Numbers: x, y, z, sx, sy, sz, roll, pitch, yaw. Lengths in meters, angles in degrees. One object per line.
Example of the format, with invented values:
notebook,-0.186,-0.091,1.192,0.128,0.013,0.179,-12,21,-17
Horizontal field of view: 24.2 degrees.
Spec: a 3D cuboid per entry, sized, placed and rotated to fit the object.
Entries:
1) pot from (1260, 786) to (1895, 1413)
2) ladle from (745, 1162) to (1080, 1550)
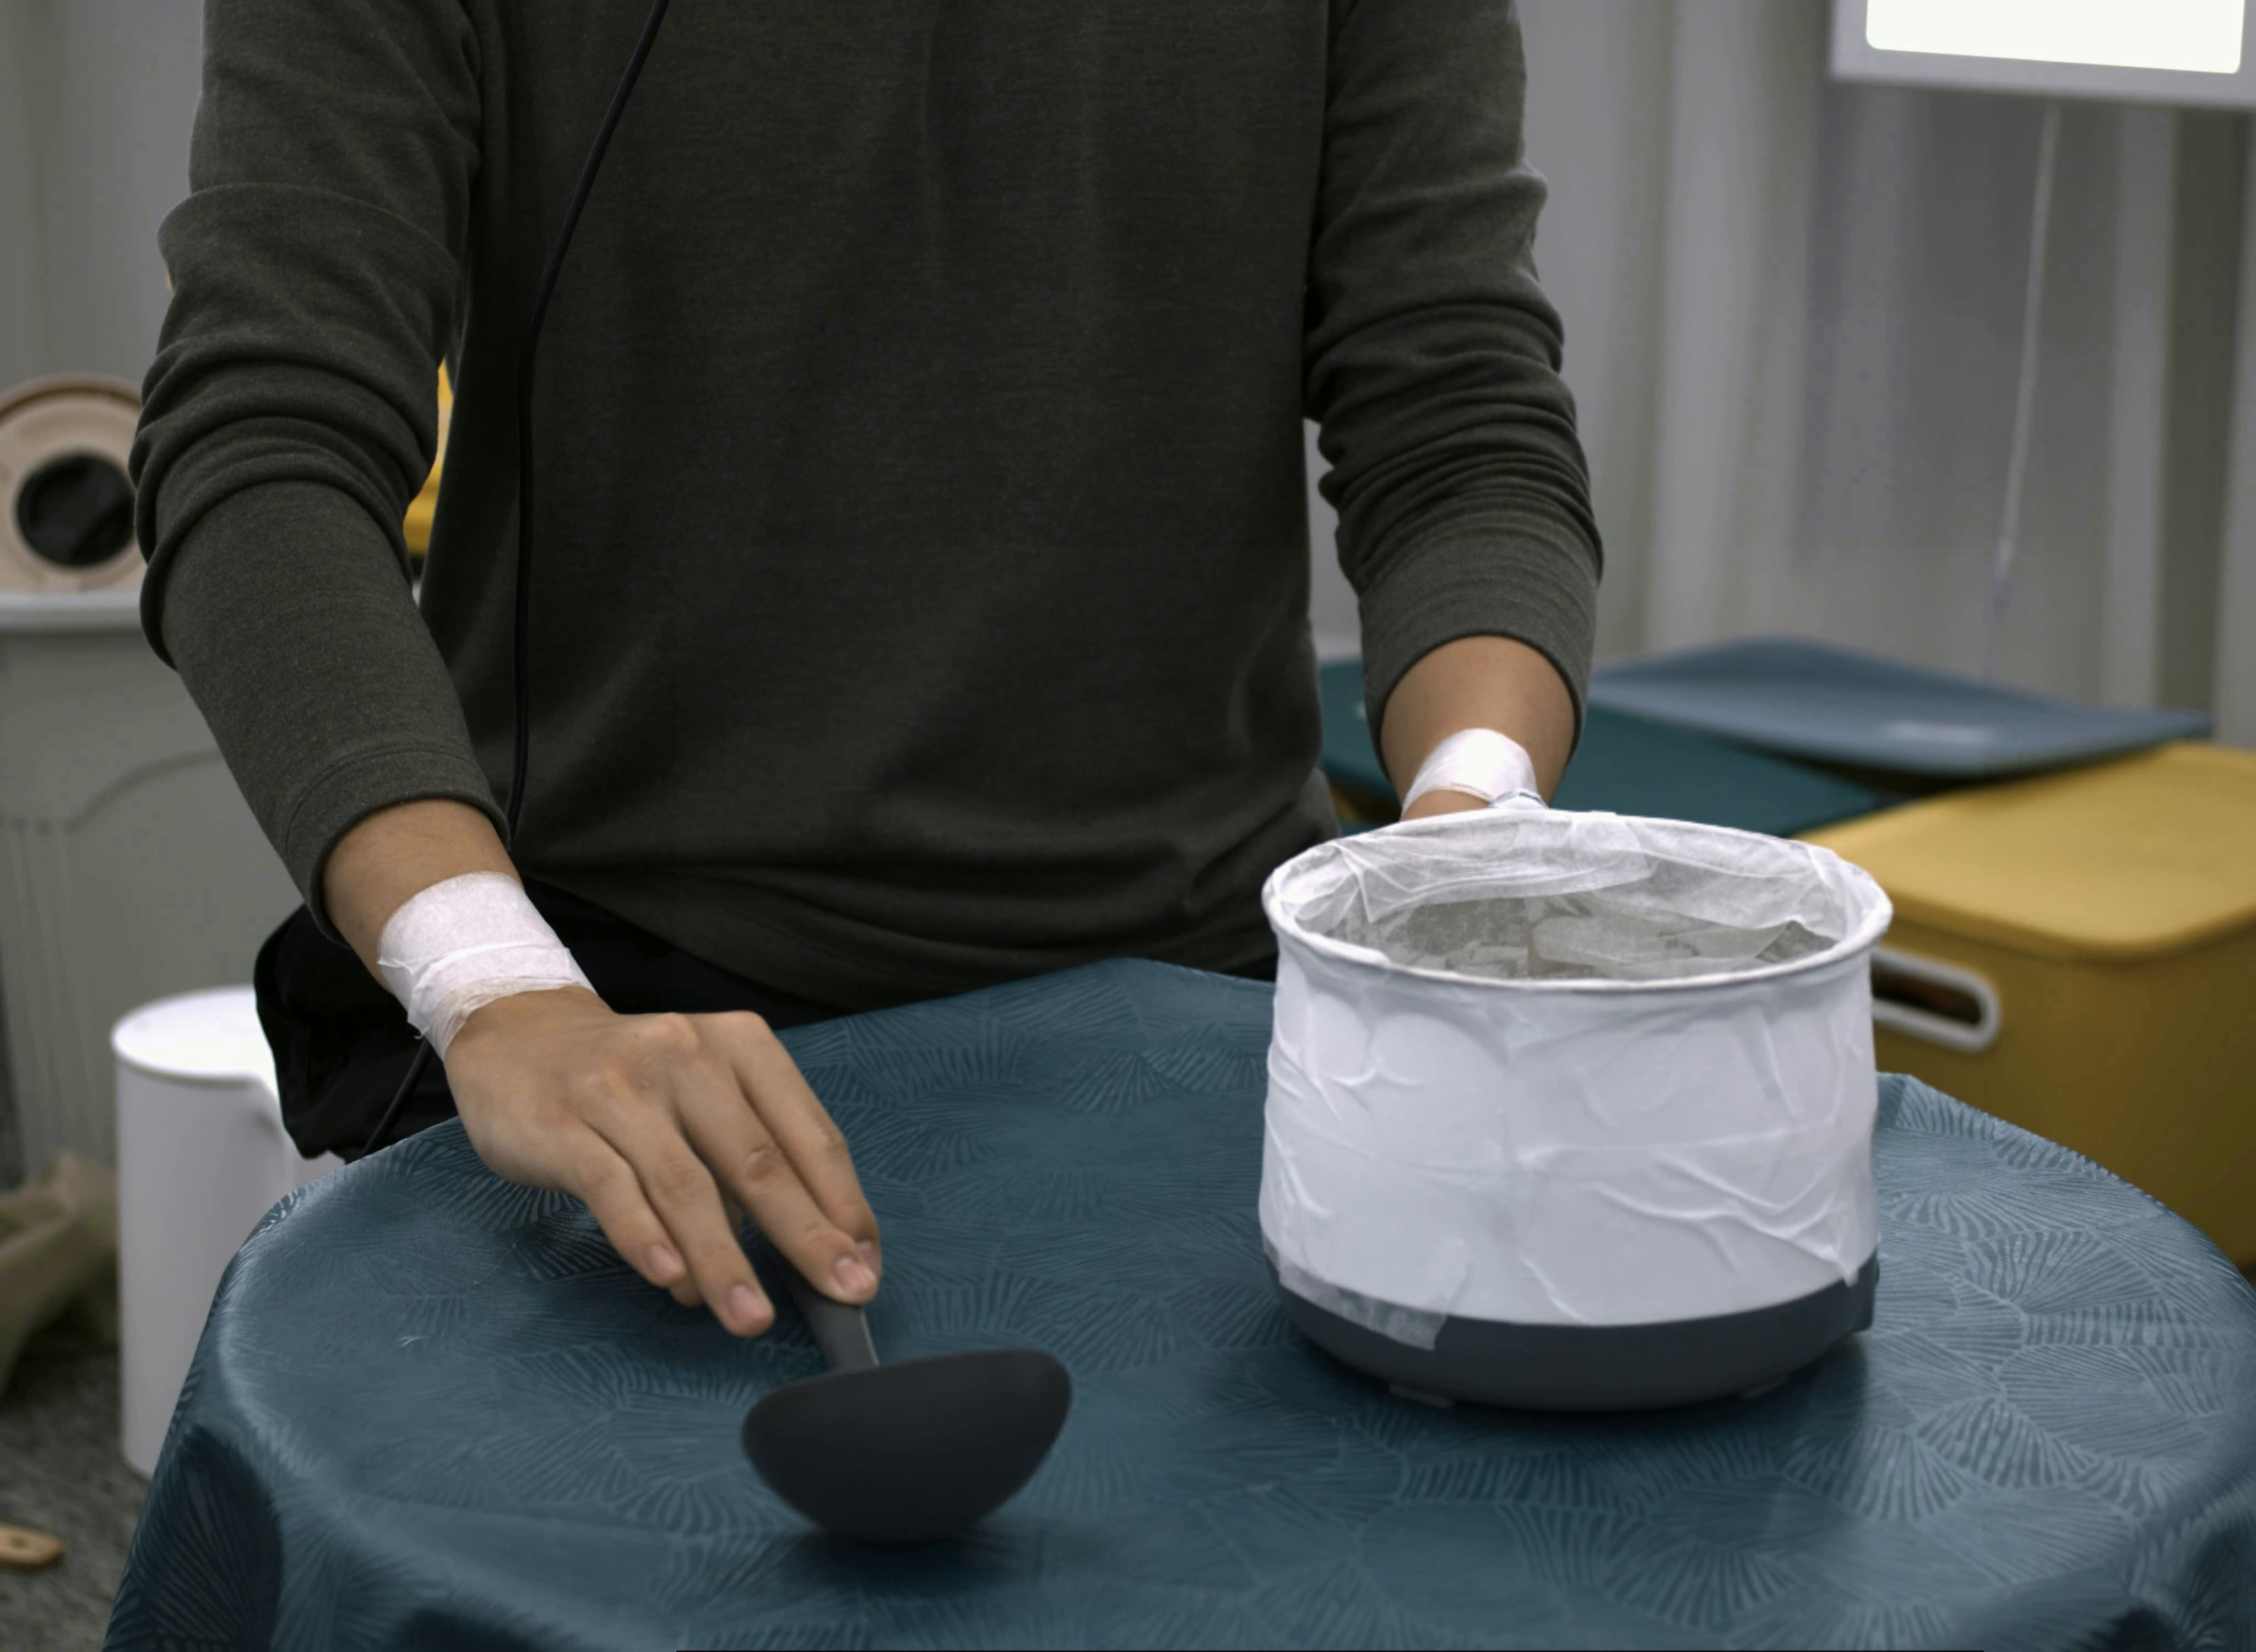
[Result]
pot,0.122,0.073,1.515,0.178,0.138,0.232,-1,15,-6
ladle,-0.078,0.125,1.457,0.086,0.064,0.311,0,15,-11
